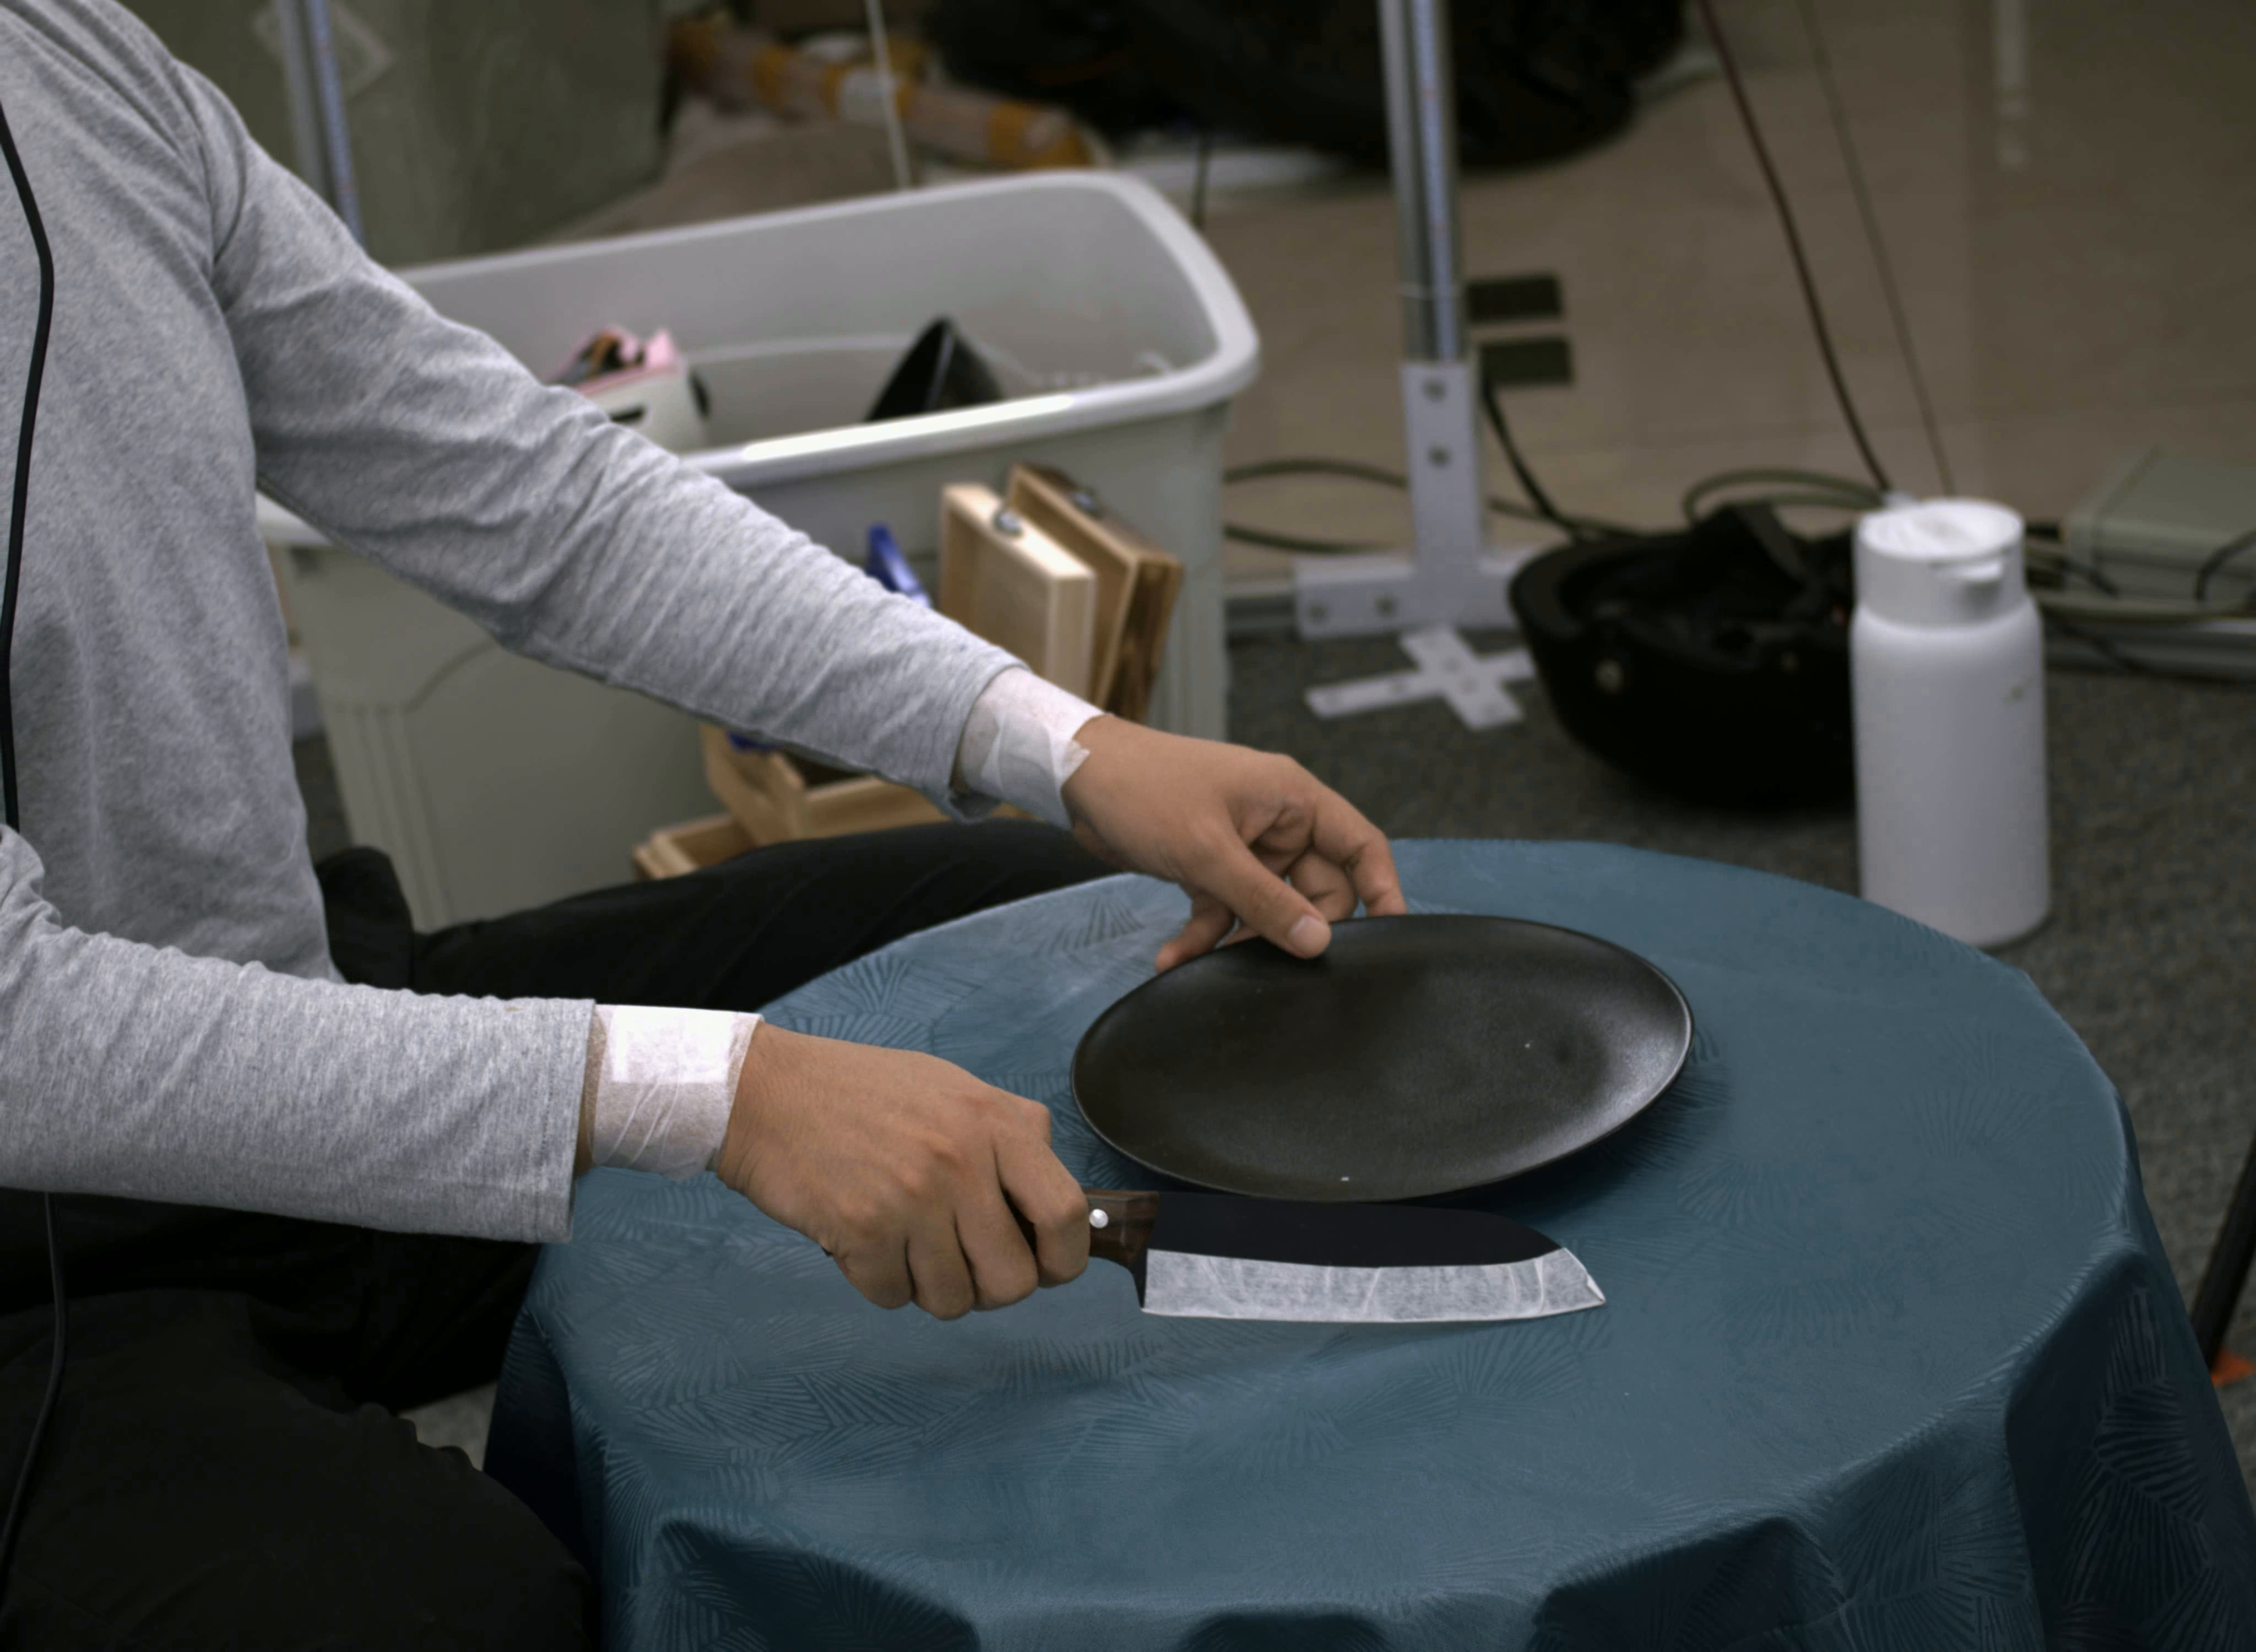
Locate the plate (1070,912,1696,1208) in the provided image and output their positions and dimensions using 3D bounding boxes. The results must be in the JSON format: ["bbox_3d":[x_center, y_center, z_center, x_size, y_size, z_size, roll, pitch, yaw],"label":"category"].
[{"bbox_3d":[0.099,0.095,2.194,0.244,0.024,0.241,-6,25,3],"label":"plate"}]

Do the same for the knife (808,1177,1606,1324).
[{"bbox_3d":[0.029,0.152,2.024,0.289,0.050,0.020,6,-10,-5],"label":"knife"}]
